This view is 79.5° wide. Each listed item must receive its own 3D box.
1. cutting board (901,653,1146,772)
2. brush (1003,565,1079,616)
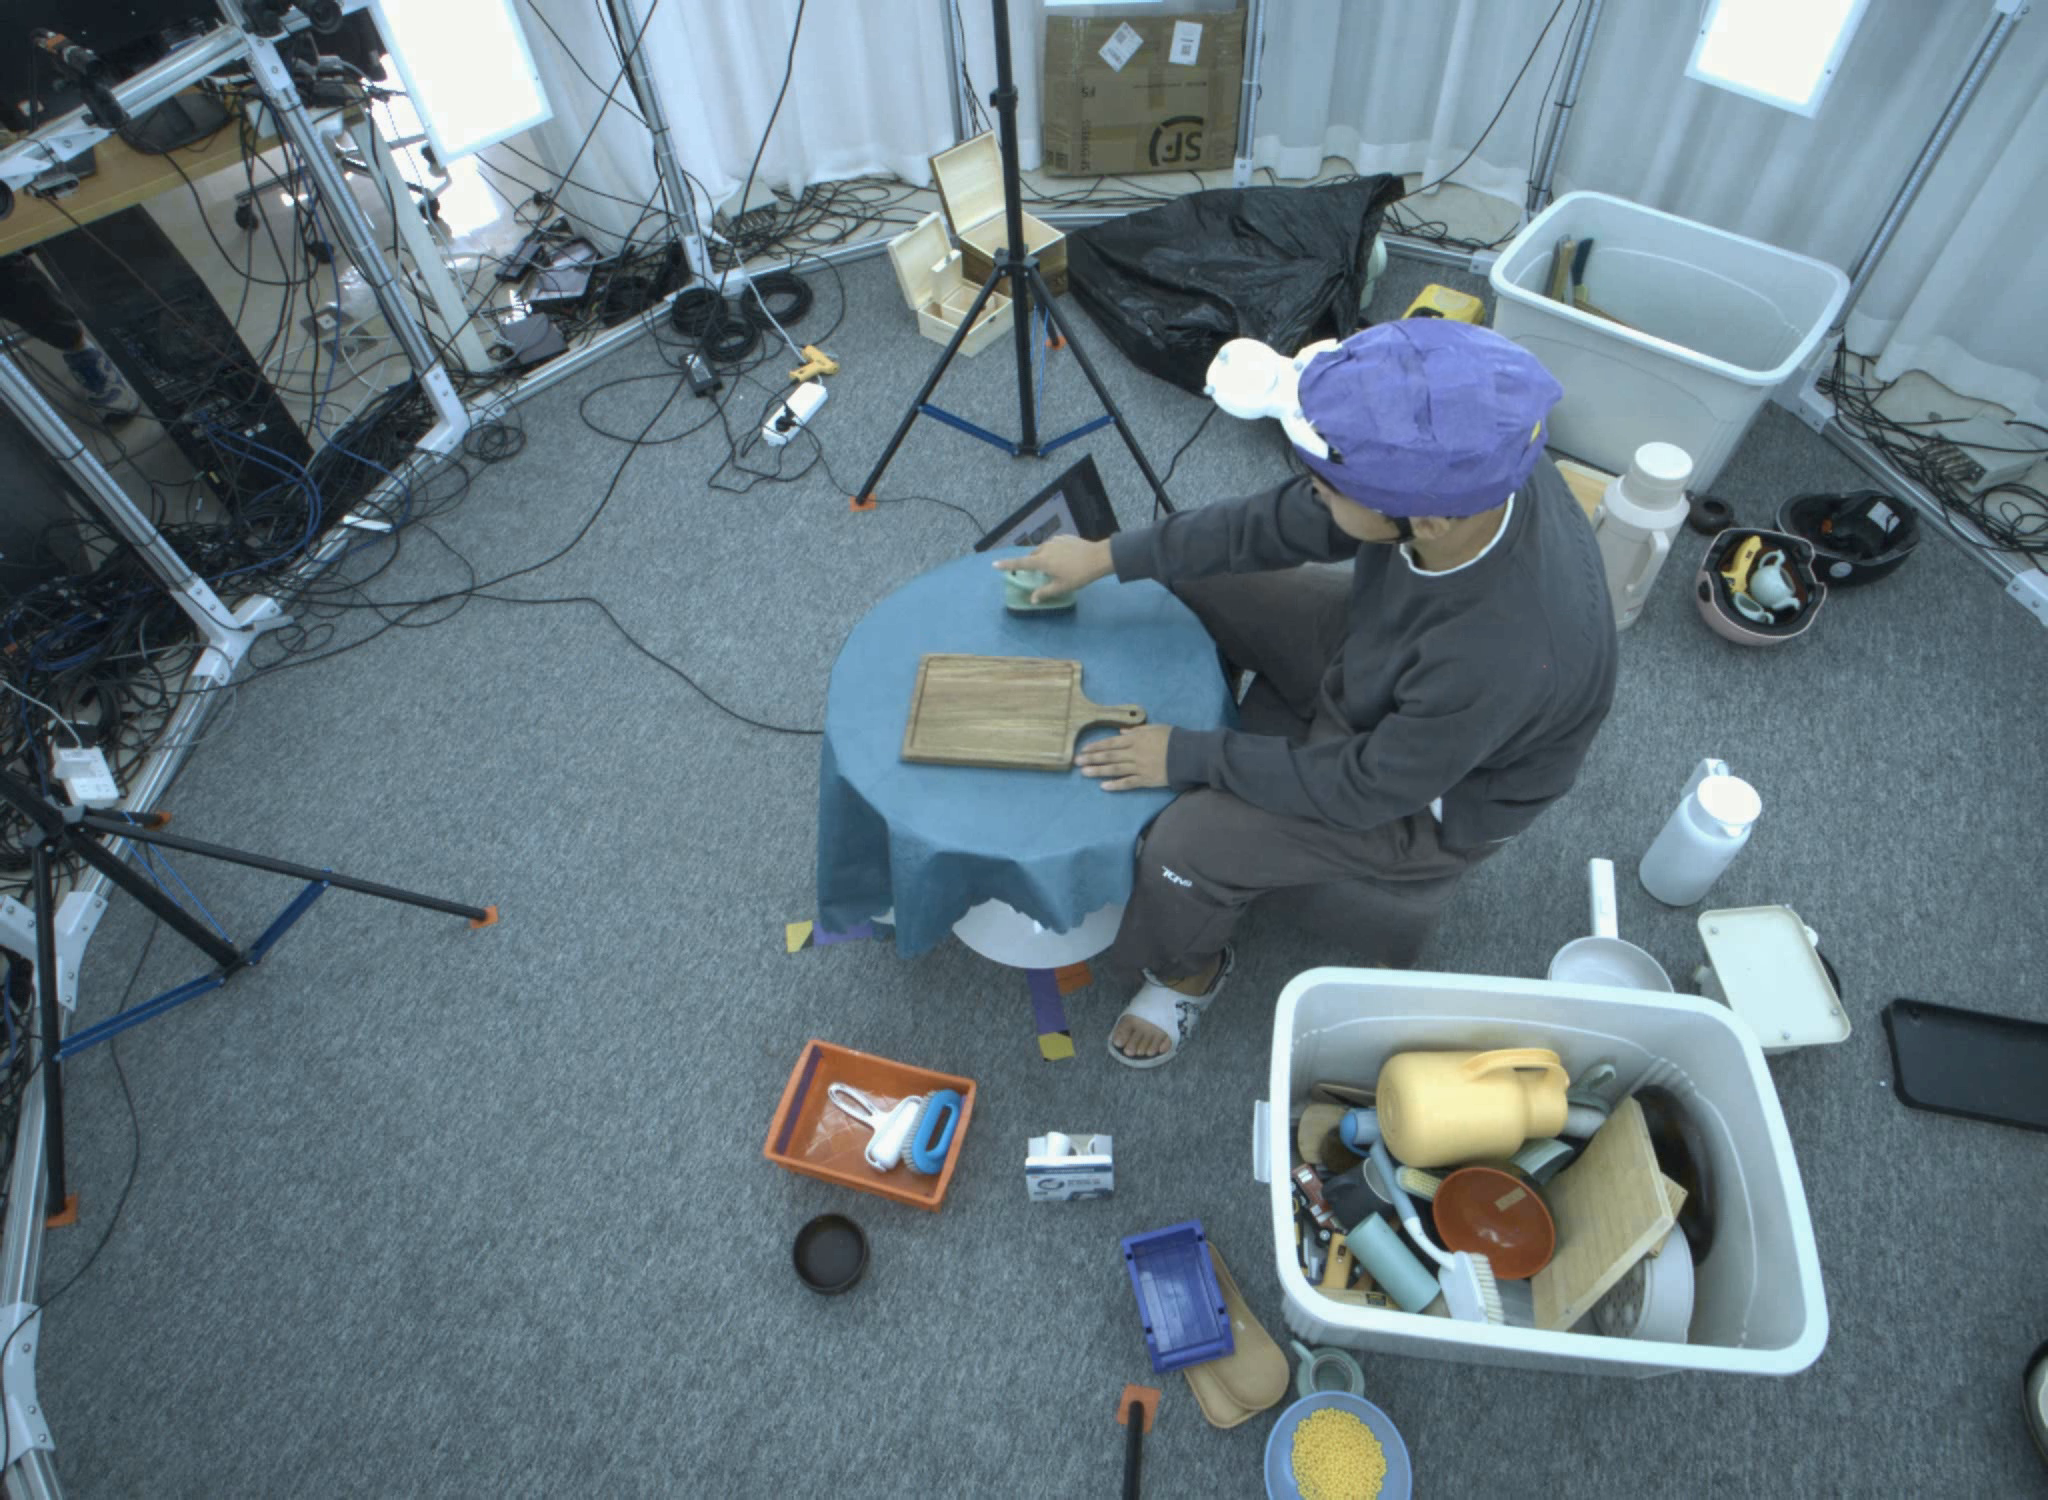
[{"bbox_3d":[0.004,-0.055,1.814,0.351,0.023,0.199,4,55,4],"label":"cutting board"},{"bbox_3d":[0.024,-0.248,1.926,0.124,0.076,0.059,5,51,-11],"label":"brush"}]
